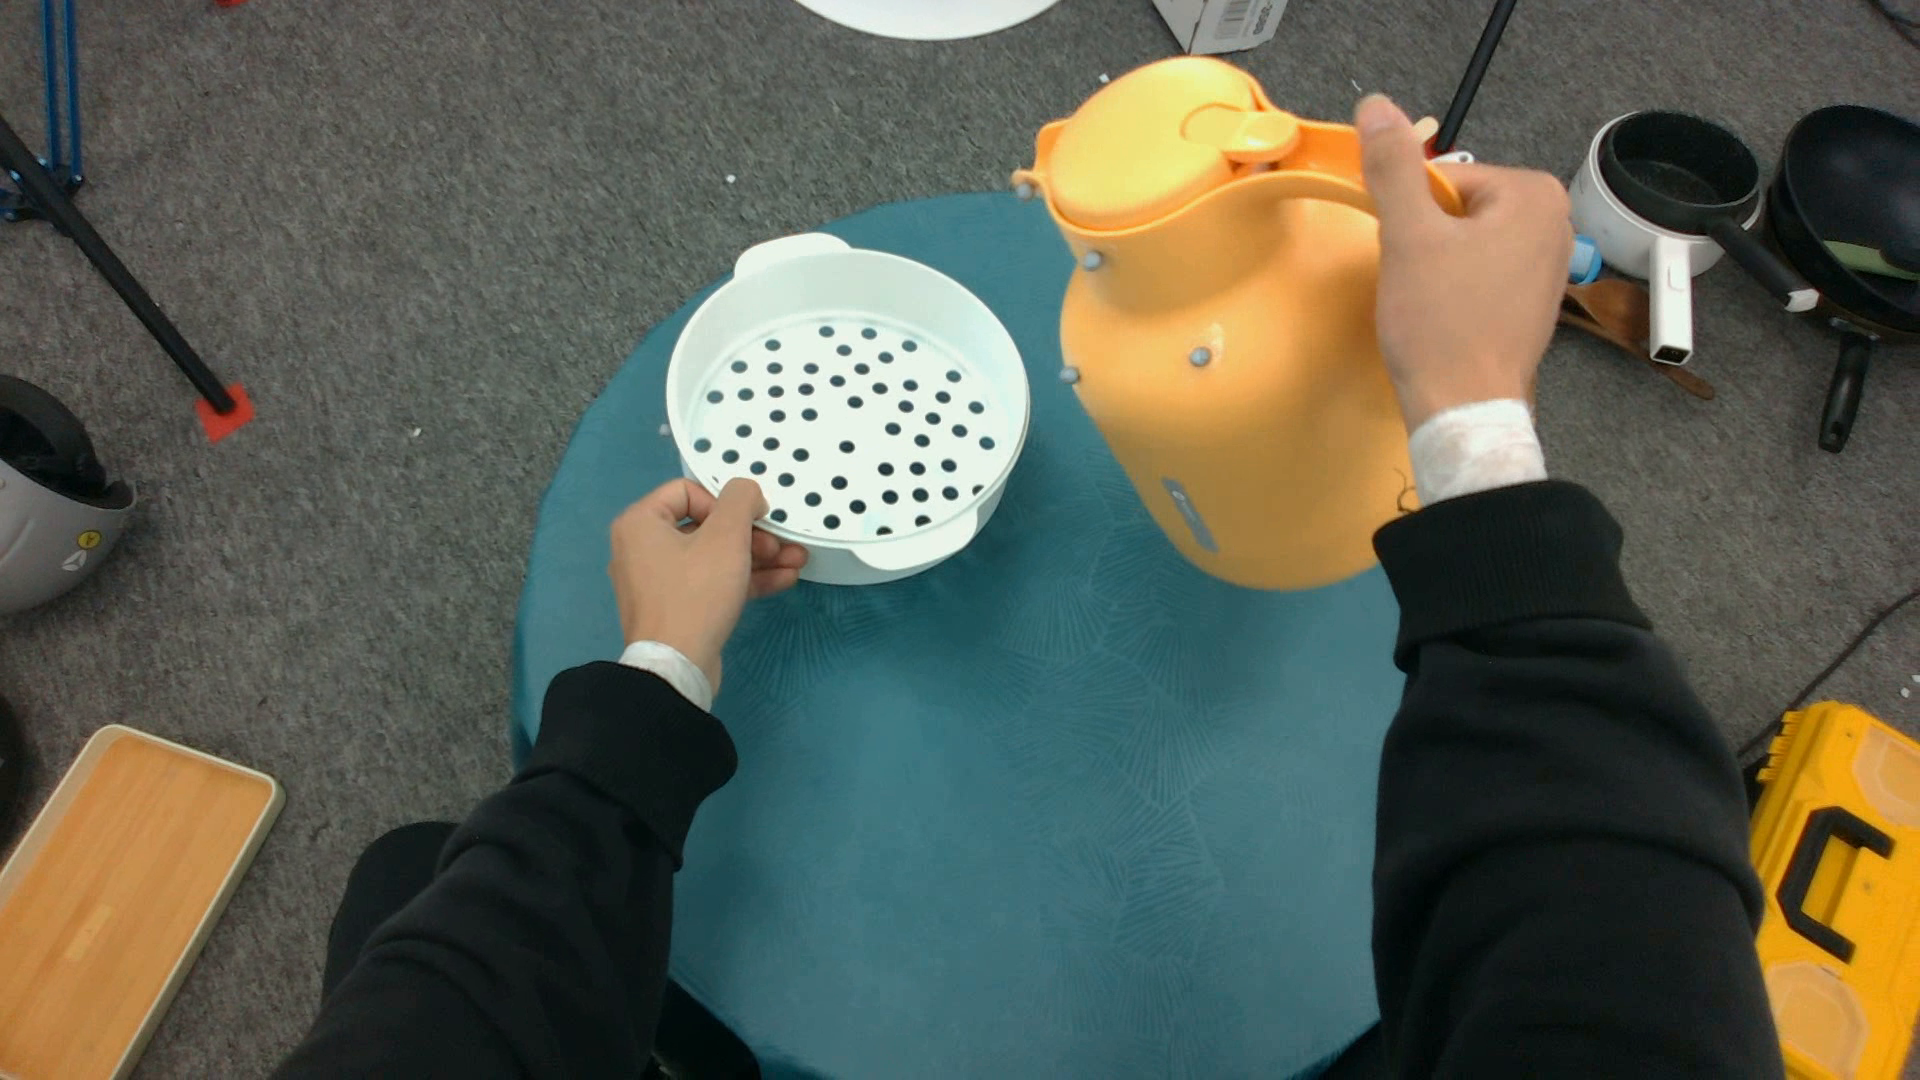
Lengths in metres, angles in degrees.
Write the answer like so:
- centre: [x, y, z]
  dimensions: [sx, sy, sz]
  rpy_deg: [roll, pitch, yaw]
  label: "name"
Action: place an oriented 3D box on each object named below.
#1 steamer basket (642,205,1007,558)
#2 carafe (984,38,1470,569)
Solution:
- centre: [-0.077, -0.085, 0.788]
  dimensions: [0.202, 0.069, 0.231]
  rpy_deg: [-19, 66, -18]
  label: "steamer basket"
- centre: [0.136, -0.106, 0.638]
  dimensions: [0.202, 0.260, 0.164]
  rpy_deg: [14, 67, 43]
  label: "carafe"
